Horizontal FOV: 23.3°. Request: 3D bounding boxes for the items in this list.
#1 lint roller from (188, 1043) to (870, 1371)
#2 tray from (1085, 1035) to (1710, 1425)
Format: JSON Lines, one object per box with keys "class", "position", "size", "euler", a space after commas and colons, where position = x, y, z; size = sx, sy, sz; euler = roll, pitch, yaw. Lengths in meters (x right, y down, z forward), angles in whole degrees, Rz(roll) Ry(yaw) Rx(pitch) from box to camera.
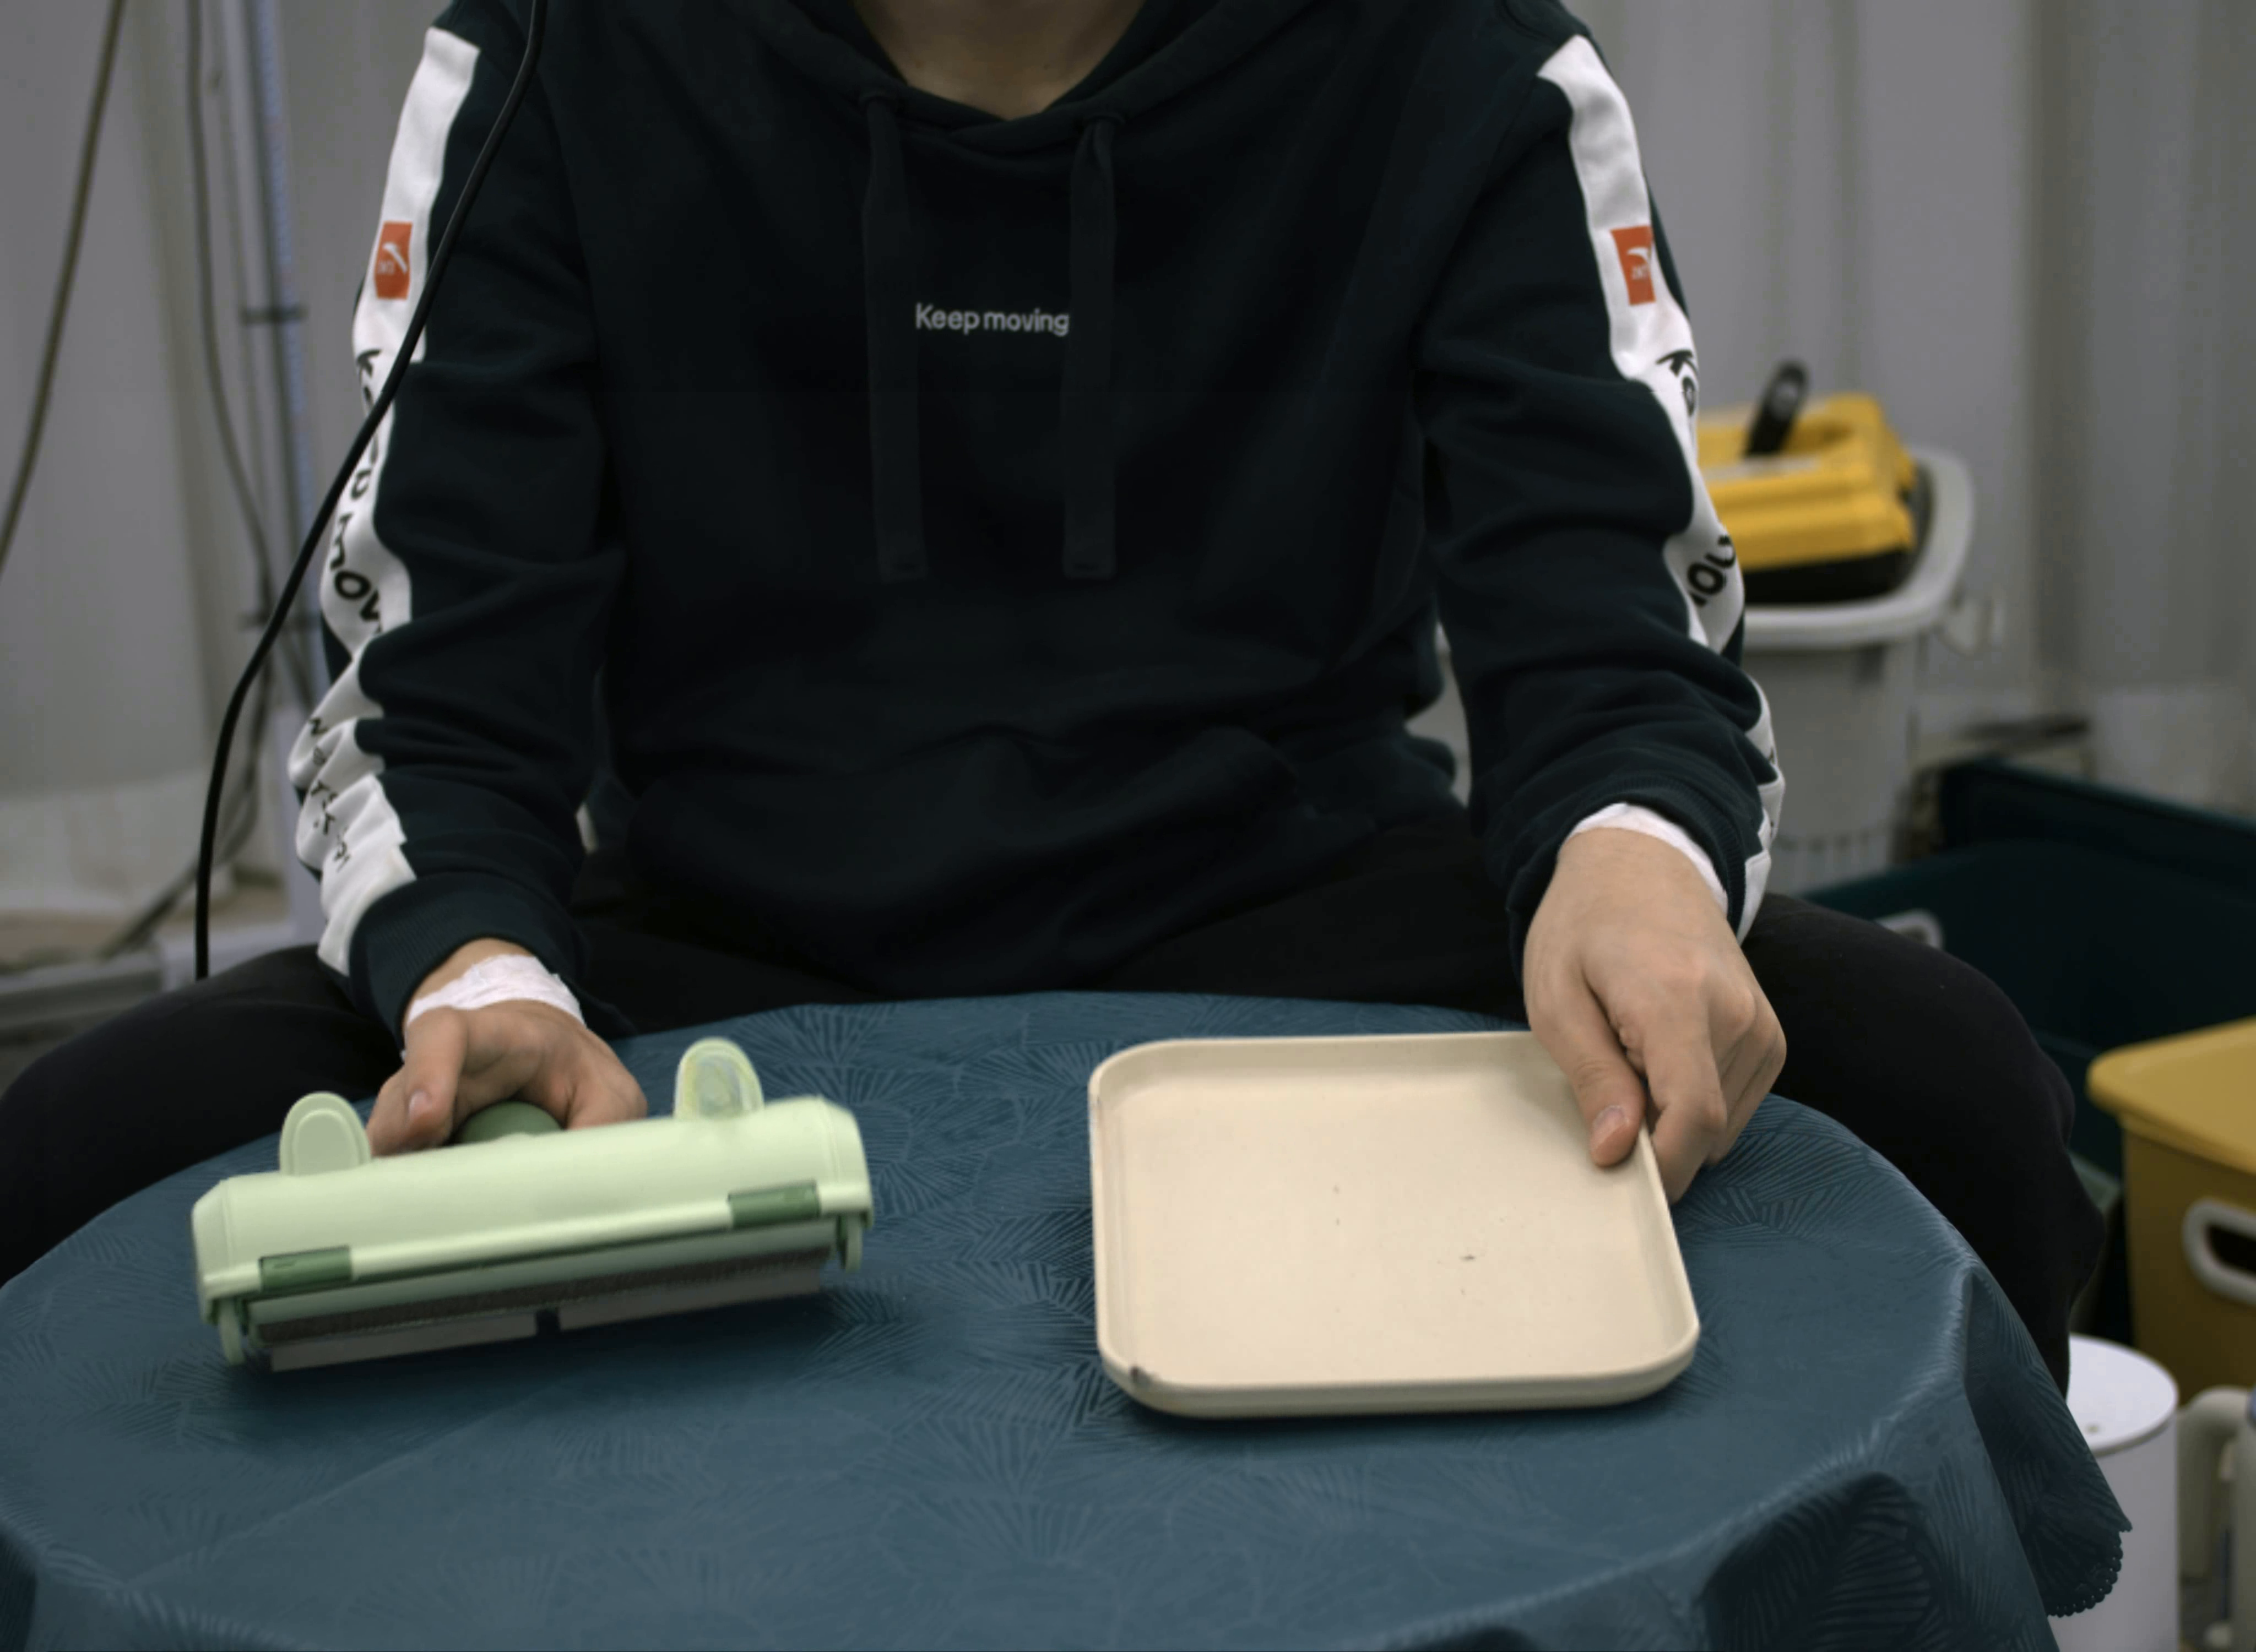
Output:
{"class": "lint roller", "position": [-0.186, 0.096, 1.651], "size": [0.198, 0.081, 0.185], "euler": [-7, 20, -9]}
{"class": "tray", "position": [0.075, 0.118, 1.611], "size": [0.170, 0.017, 0.242], "euler": [-2, 21, -1]}
